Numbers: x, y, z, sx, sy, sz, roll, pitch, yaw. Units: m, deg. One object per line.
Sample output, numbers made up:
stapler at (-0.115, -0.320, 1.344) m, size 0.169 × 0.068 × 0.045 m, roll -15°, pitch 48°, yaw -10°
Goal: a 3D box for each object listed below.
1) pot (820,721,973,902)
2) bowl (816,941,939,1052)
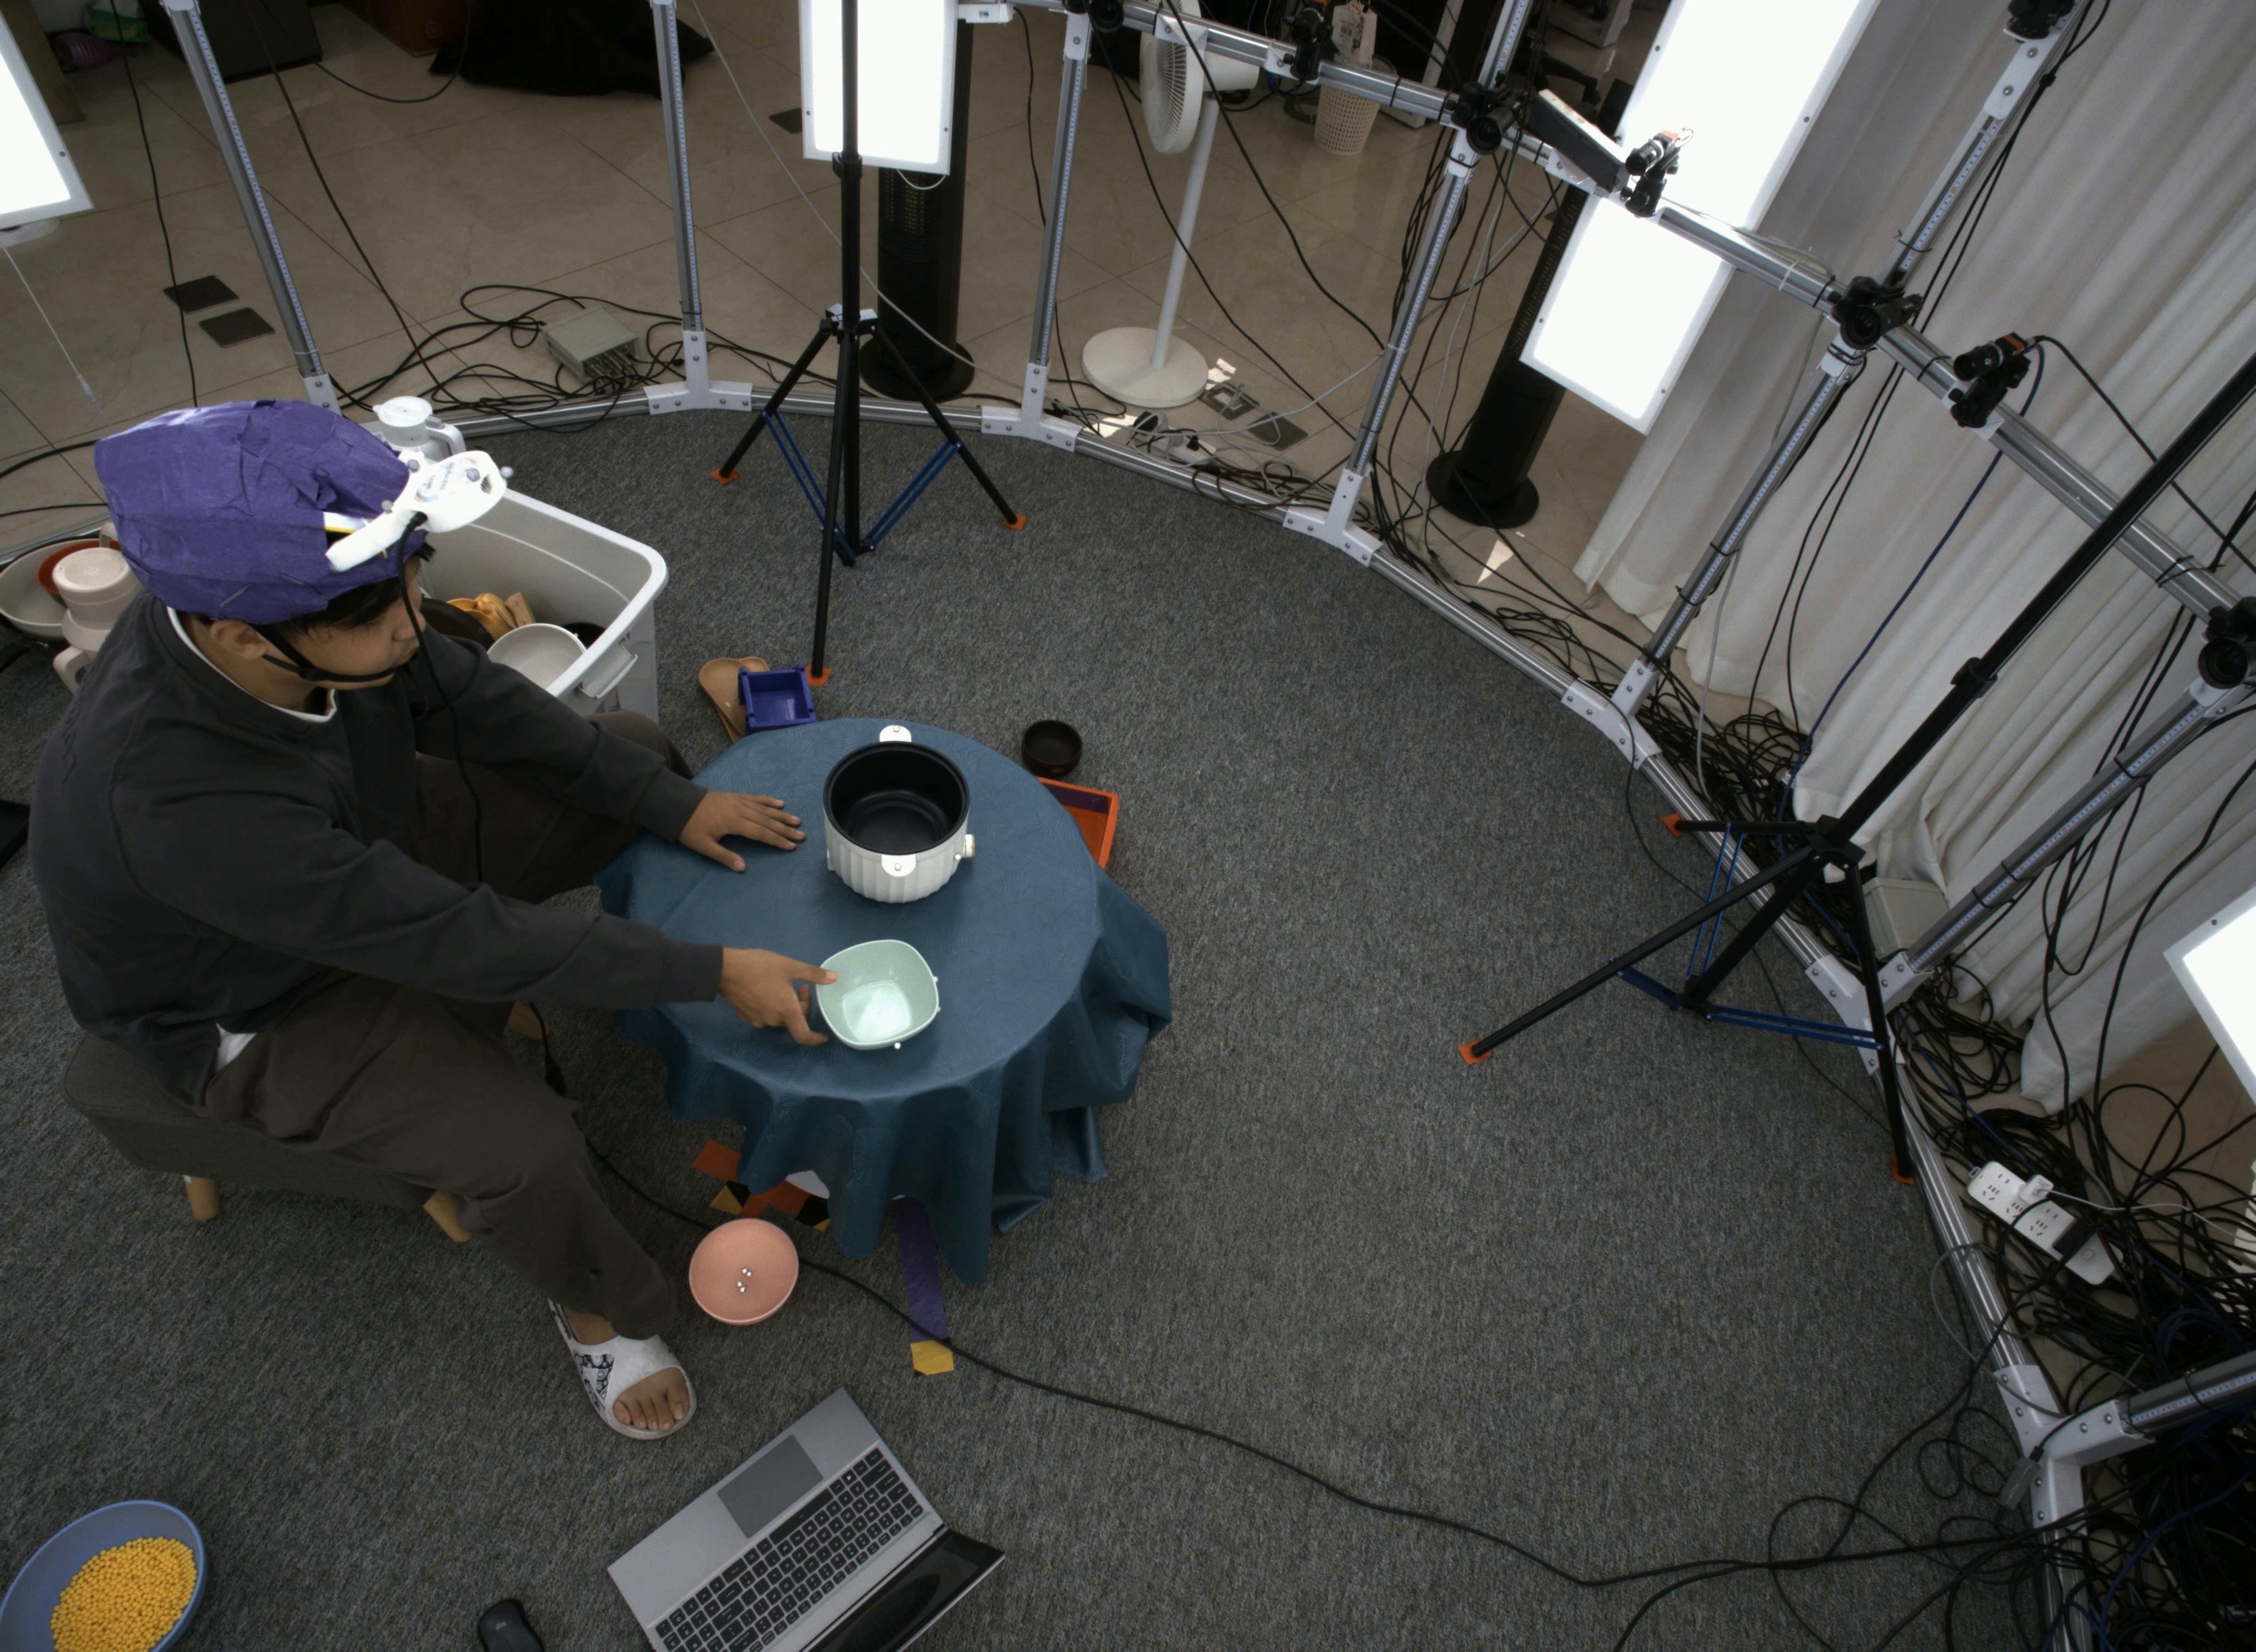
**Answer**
pot at (-0.293, -0.003, 1.664) m, size 0.190 × 0.146 × 0.235 m, roll -3°, pitch 56°, yaw -11°
bowl at (-0.301, 0.211, 1.556) m, size 0.151 × 0.060 × 0.149 m, roll 9°, pitch 51°, yaw -10°
